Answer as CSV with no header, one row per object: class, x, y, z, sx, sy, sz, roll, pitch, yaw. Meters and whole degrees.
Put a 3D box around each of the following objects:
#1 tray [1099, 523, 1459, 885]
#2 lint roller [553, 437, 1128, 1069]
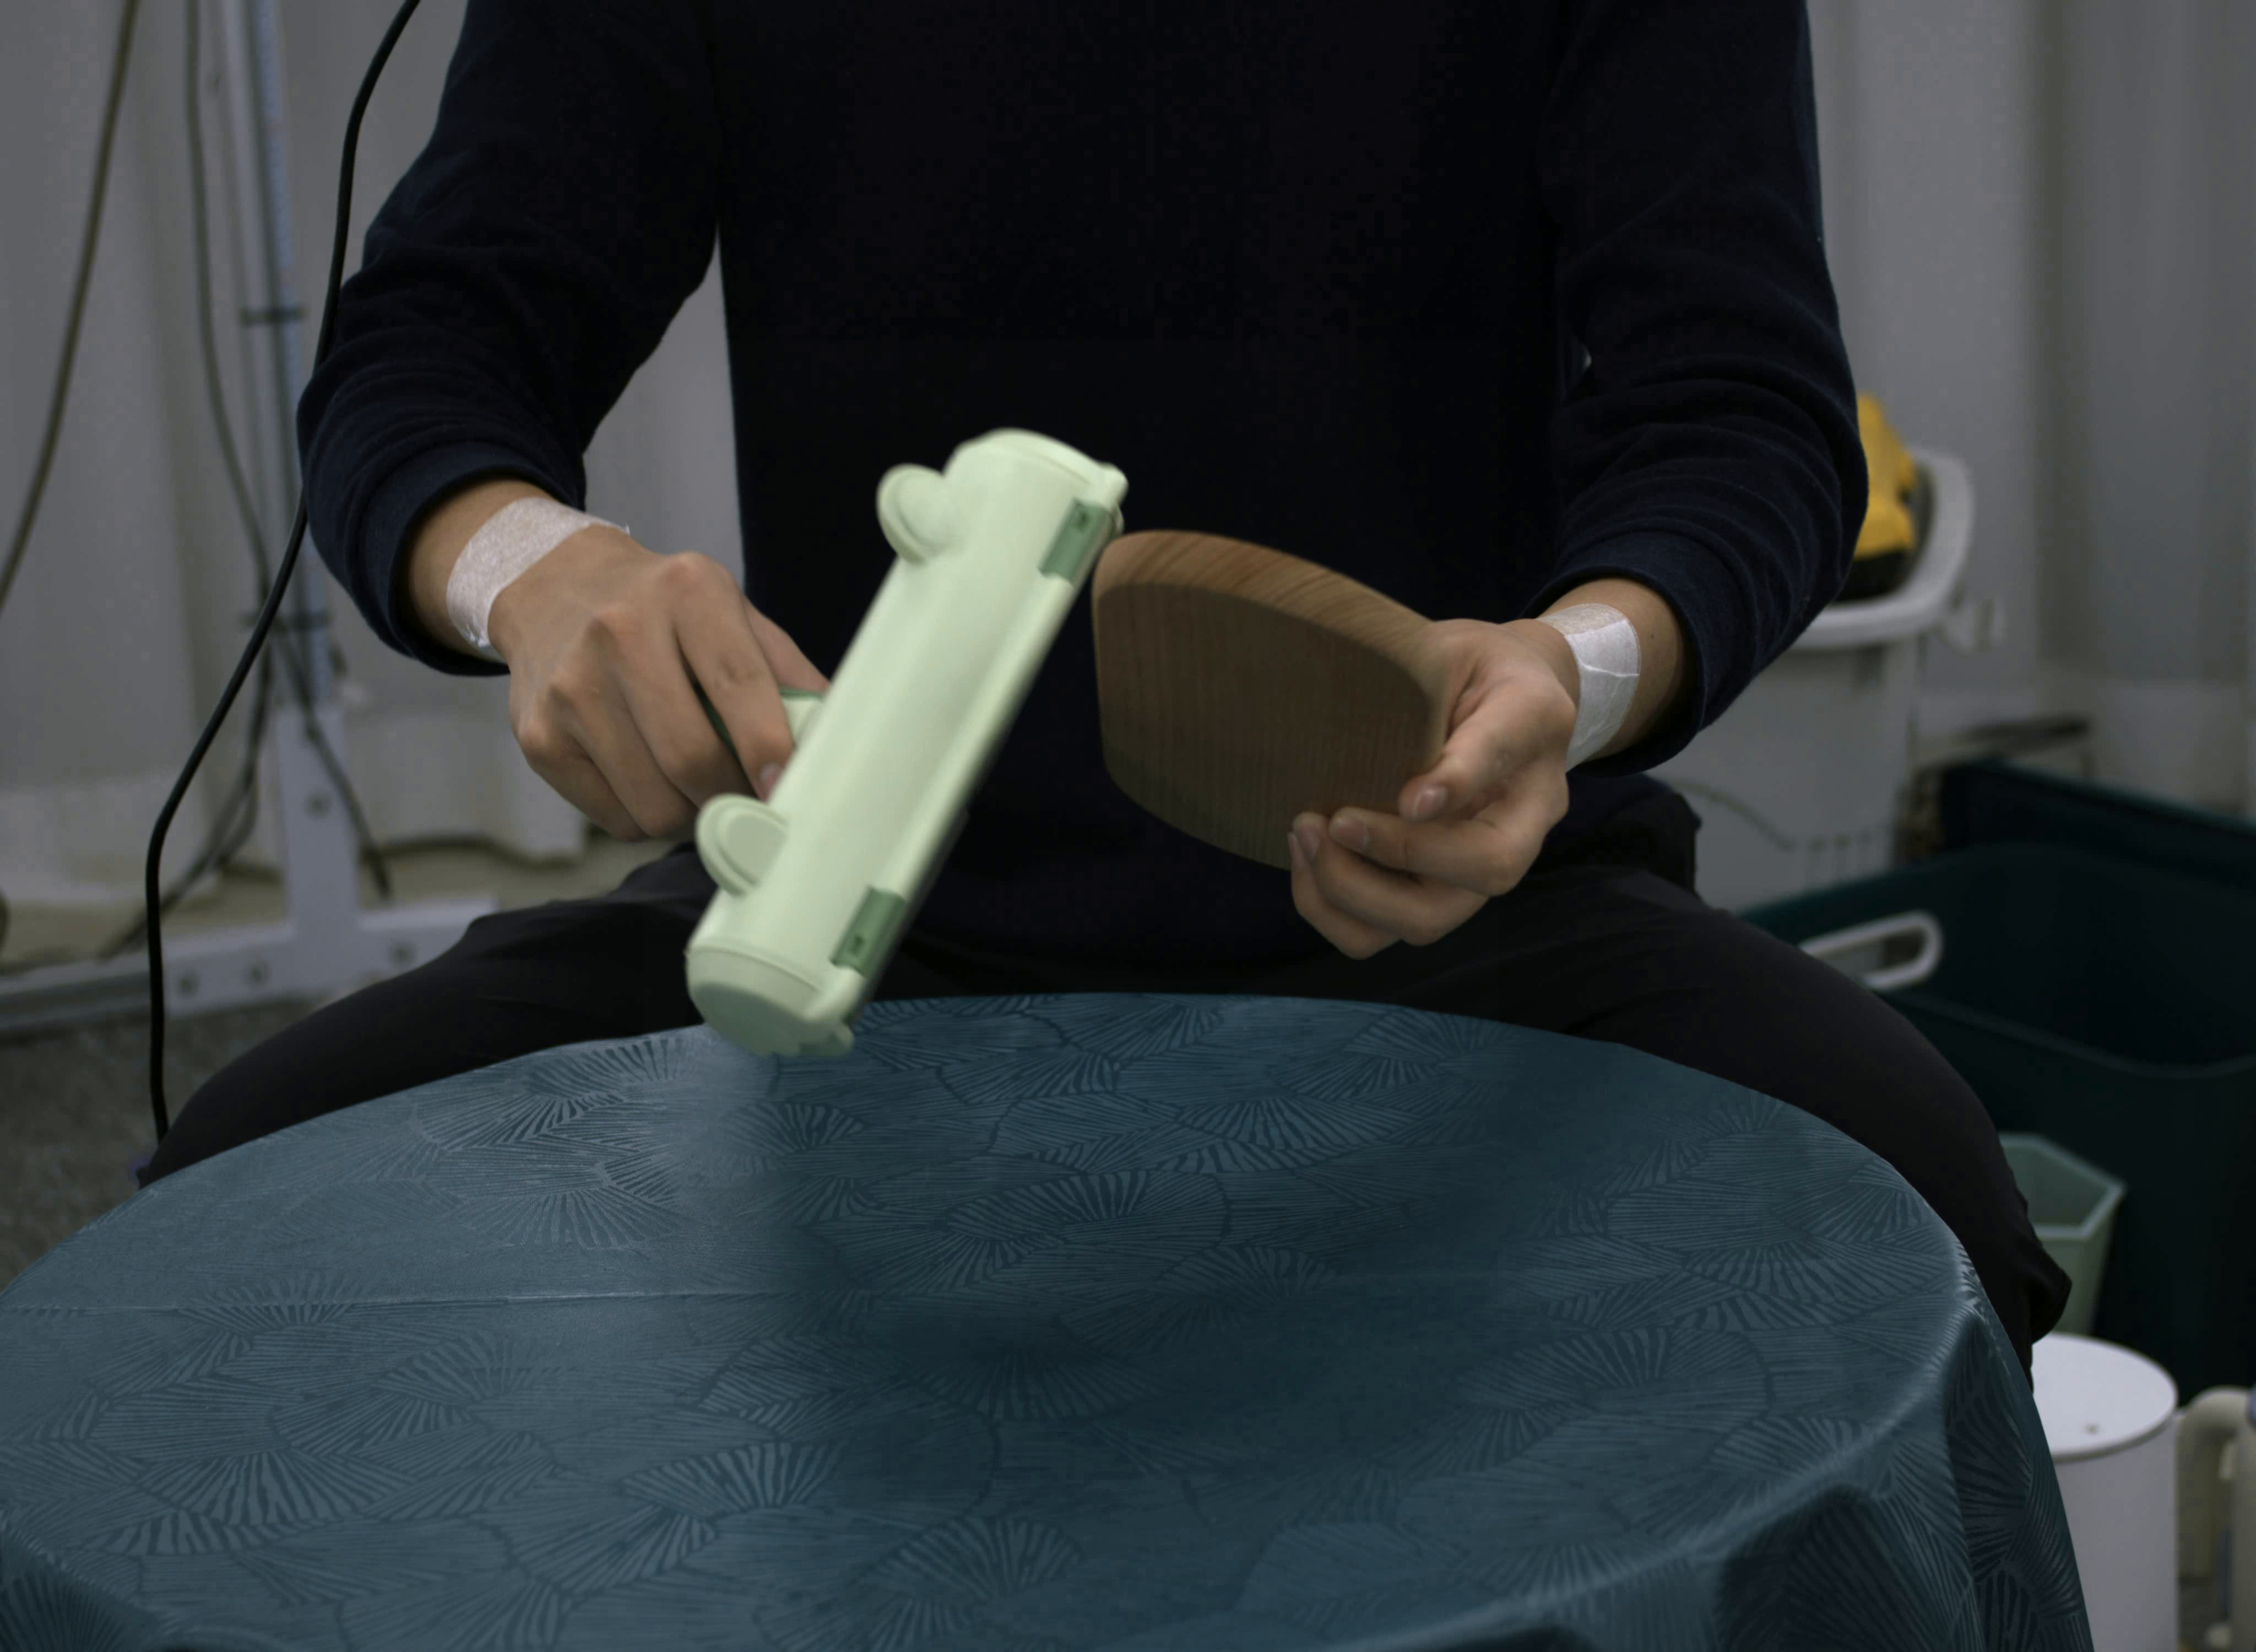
tray,0.039,-0.030,1.537,0.101,0.020,0.229,20,-19,7
lint roller,-0.111,-0.035,1.611,0.184,0.081,0.200,10,61,34
